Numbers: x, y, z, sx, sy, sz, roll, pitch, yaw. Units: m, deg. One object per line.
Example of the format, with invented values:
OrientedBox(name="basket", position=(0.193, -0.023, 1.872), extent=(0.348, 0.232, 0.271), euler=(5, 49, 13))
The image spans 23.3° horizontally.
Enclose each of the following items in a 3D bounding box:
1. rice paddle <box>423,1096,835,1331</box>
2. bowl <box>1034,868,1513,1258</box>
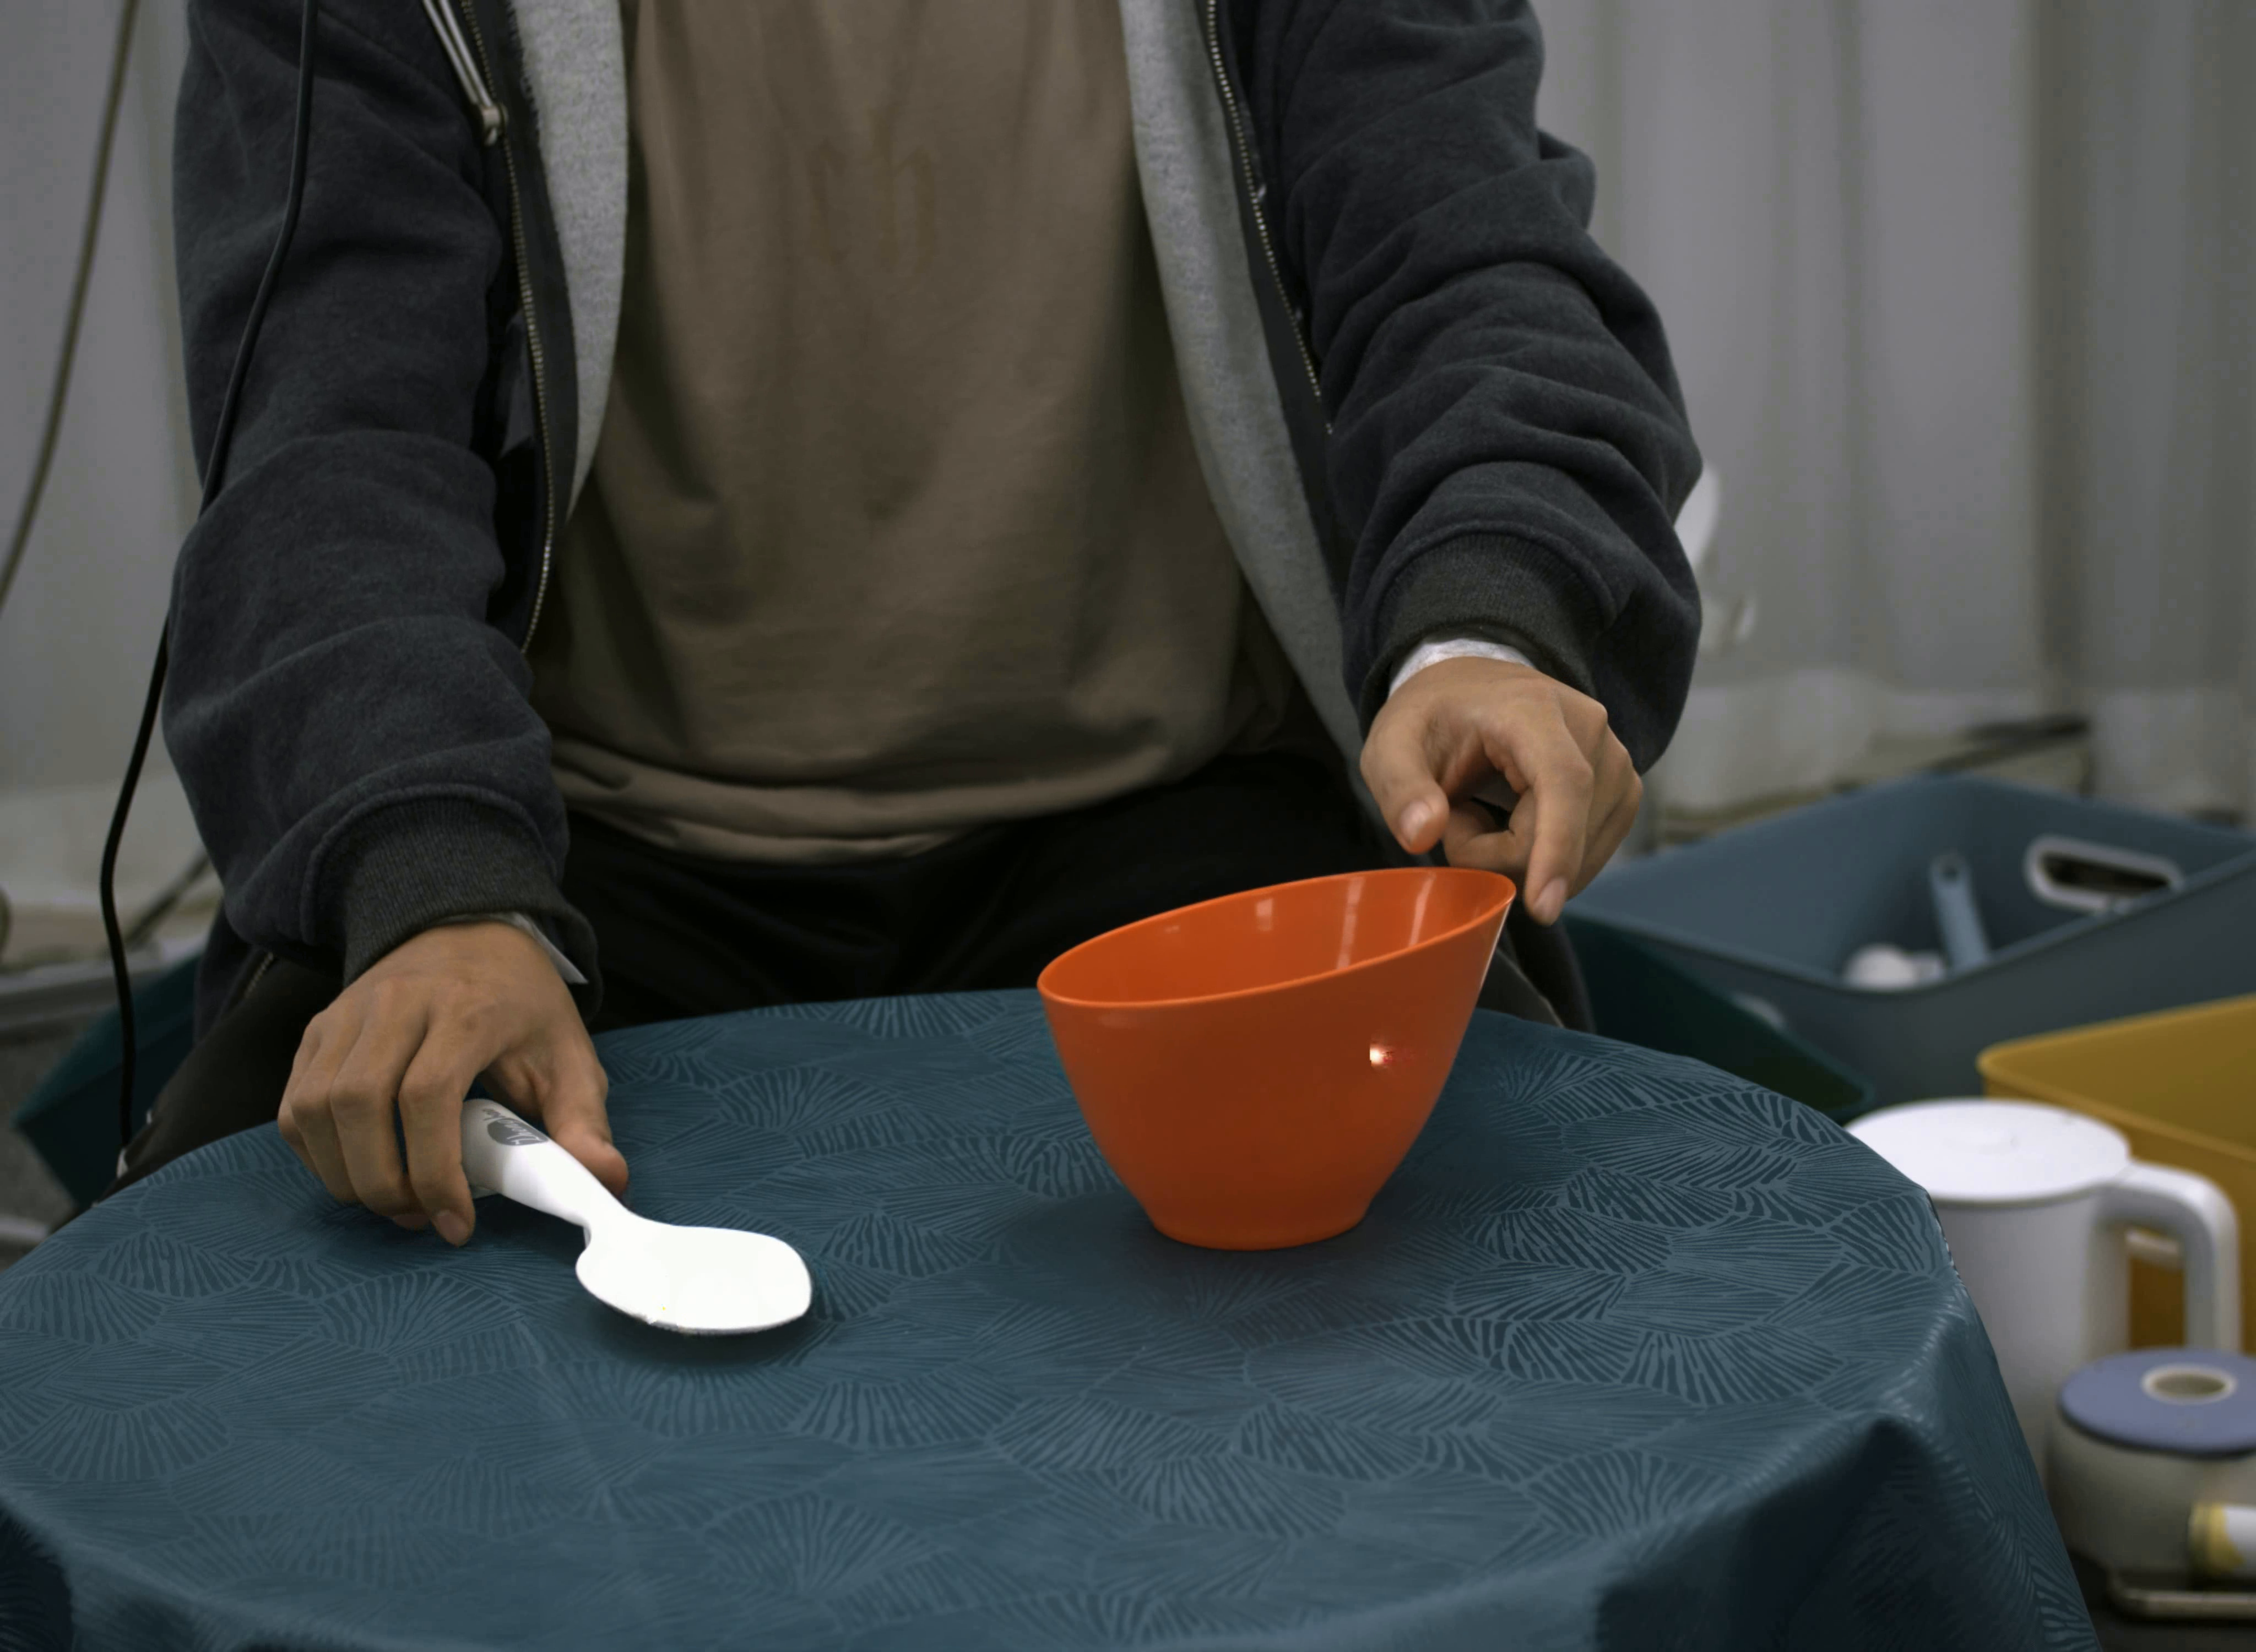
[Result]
OrientedBox(name="rice paddle", position=(-0.156, 0.120, 1.668), extent=(0.068, 0.029, 0.207), euler=(-13, 18, -31))
OrientedBox(name="bowl", position=(0.046, 0.073, 1.668), extent=(0.147, 0.104, 0.149), euler=(-4, 15, 1))
